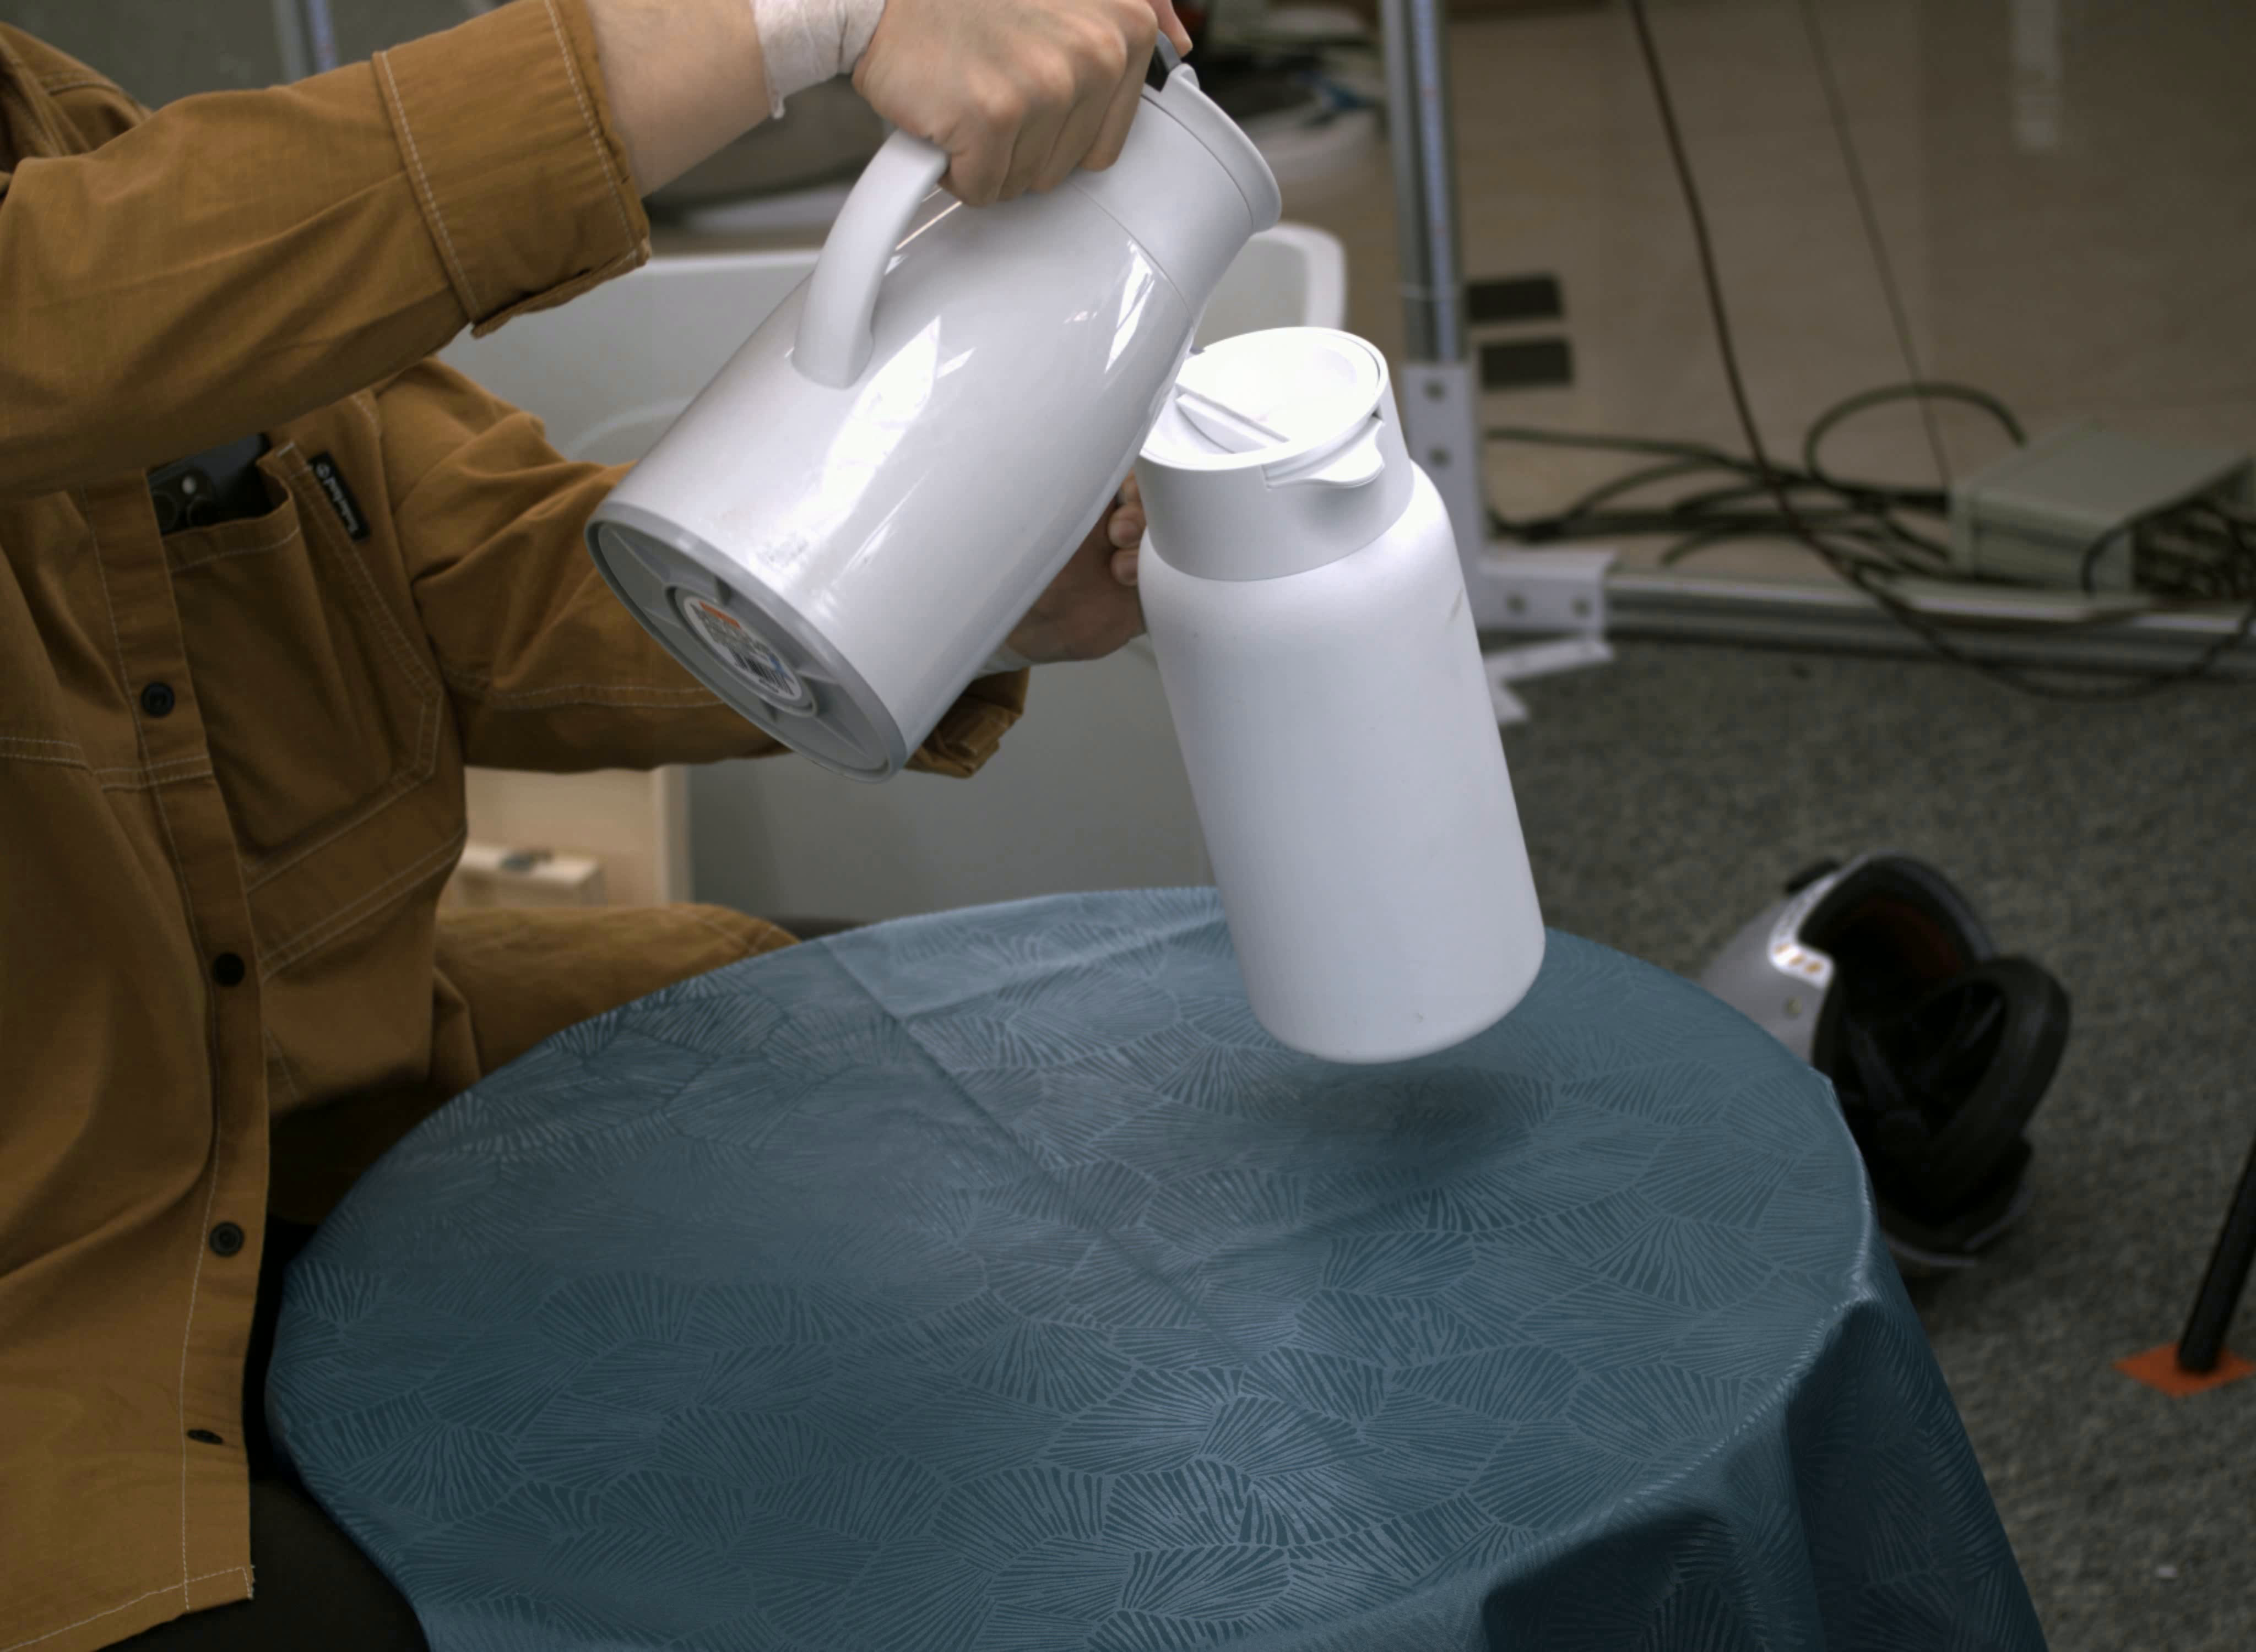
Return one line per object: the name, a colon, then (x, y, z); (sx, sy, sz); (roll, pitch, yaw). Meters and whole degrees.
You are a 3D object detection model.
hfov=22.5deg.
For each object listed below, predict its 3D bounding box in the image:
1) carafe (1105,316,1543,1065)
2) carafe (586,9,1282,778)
carafe: (0.063, -0.053, 2.110); (0.123, 0.274, 0.171); (-33, 38, -21)
carafe: (-0.058, -0.160, 1.887); (0.131, 0.170, 0.247); (31, 73, 31)
